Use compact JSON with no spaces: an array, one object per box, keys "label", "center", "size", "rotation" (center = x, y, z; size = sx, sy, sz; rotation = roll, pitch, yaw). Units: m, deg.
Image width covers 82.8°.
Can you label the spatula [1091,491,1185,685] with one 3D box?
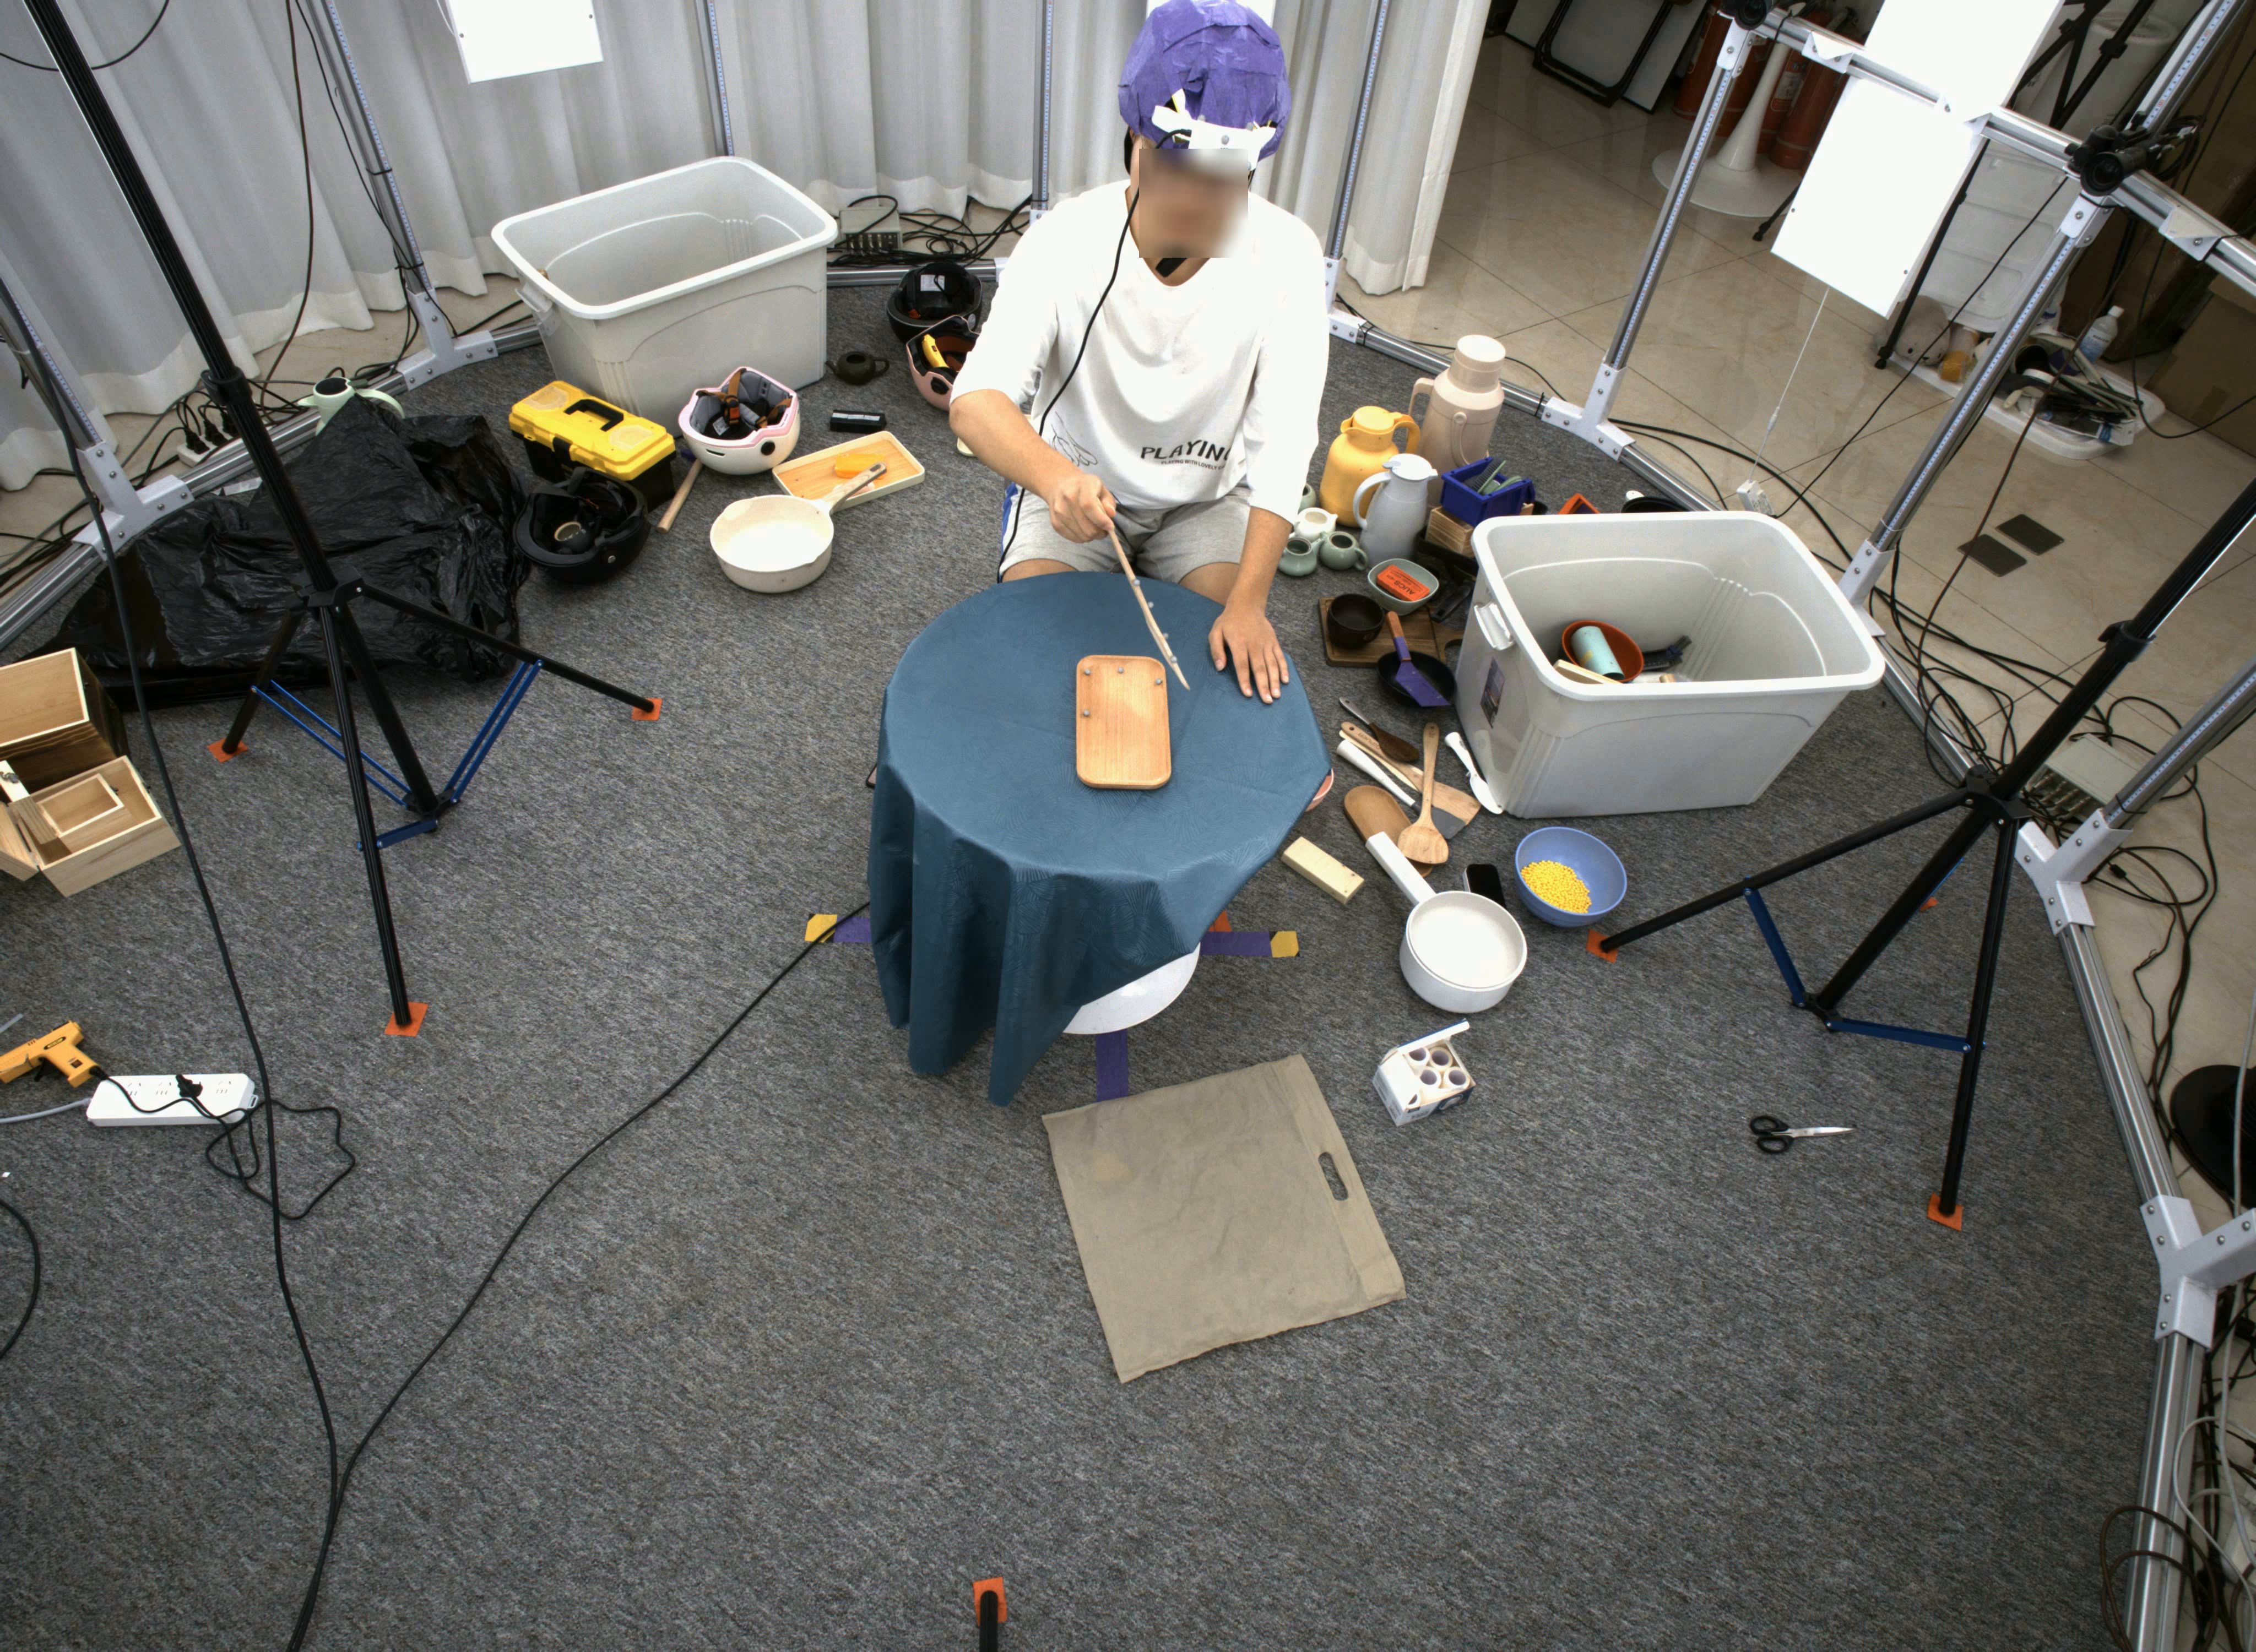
[{"label":"spatula","center":[0.012,-0.296,1.608],"size":[0.010,0.286,0.074],"rotation":[-27,41,2]}]

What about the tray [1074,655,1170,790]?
[{"label":"tray","center":[-0.009,-0.146,1.780],"size":[0.130,0.022,0.257],"rotation":[1,49,0]}]
